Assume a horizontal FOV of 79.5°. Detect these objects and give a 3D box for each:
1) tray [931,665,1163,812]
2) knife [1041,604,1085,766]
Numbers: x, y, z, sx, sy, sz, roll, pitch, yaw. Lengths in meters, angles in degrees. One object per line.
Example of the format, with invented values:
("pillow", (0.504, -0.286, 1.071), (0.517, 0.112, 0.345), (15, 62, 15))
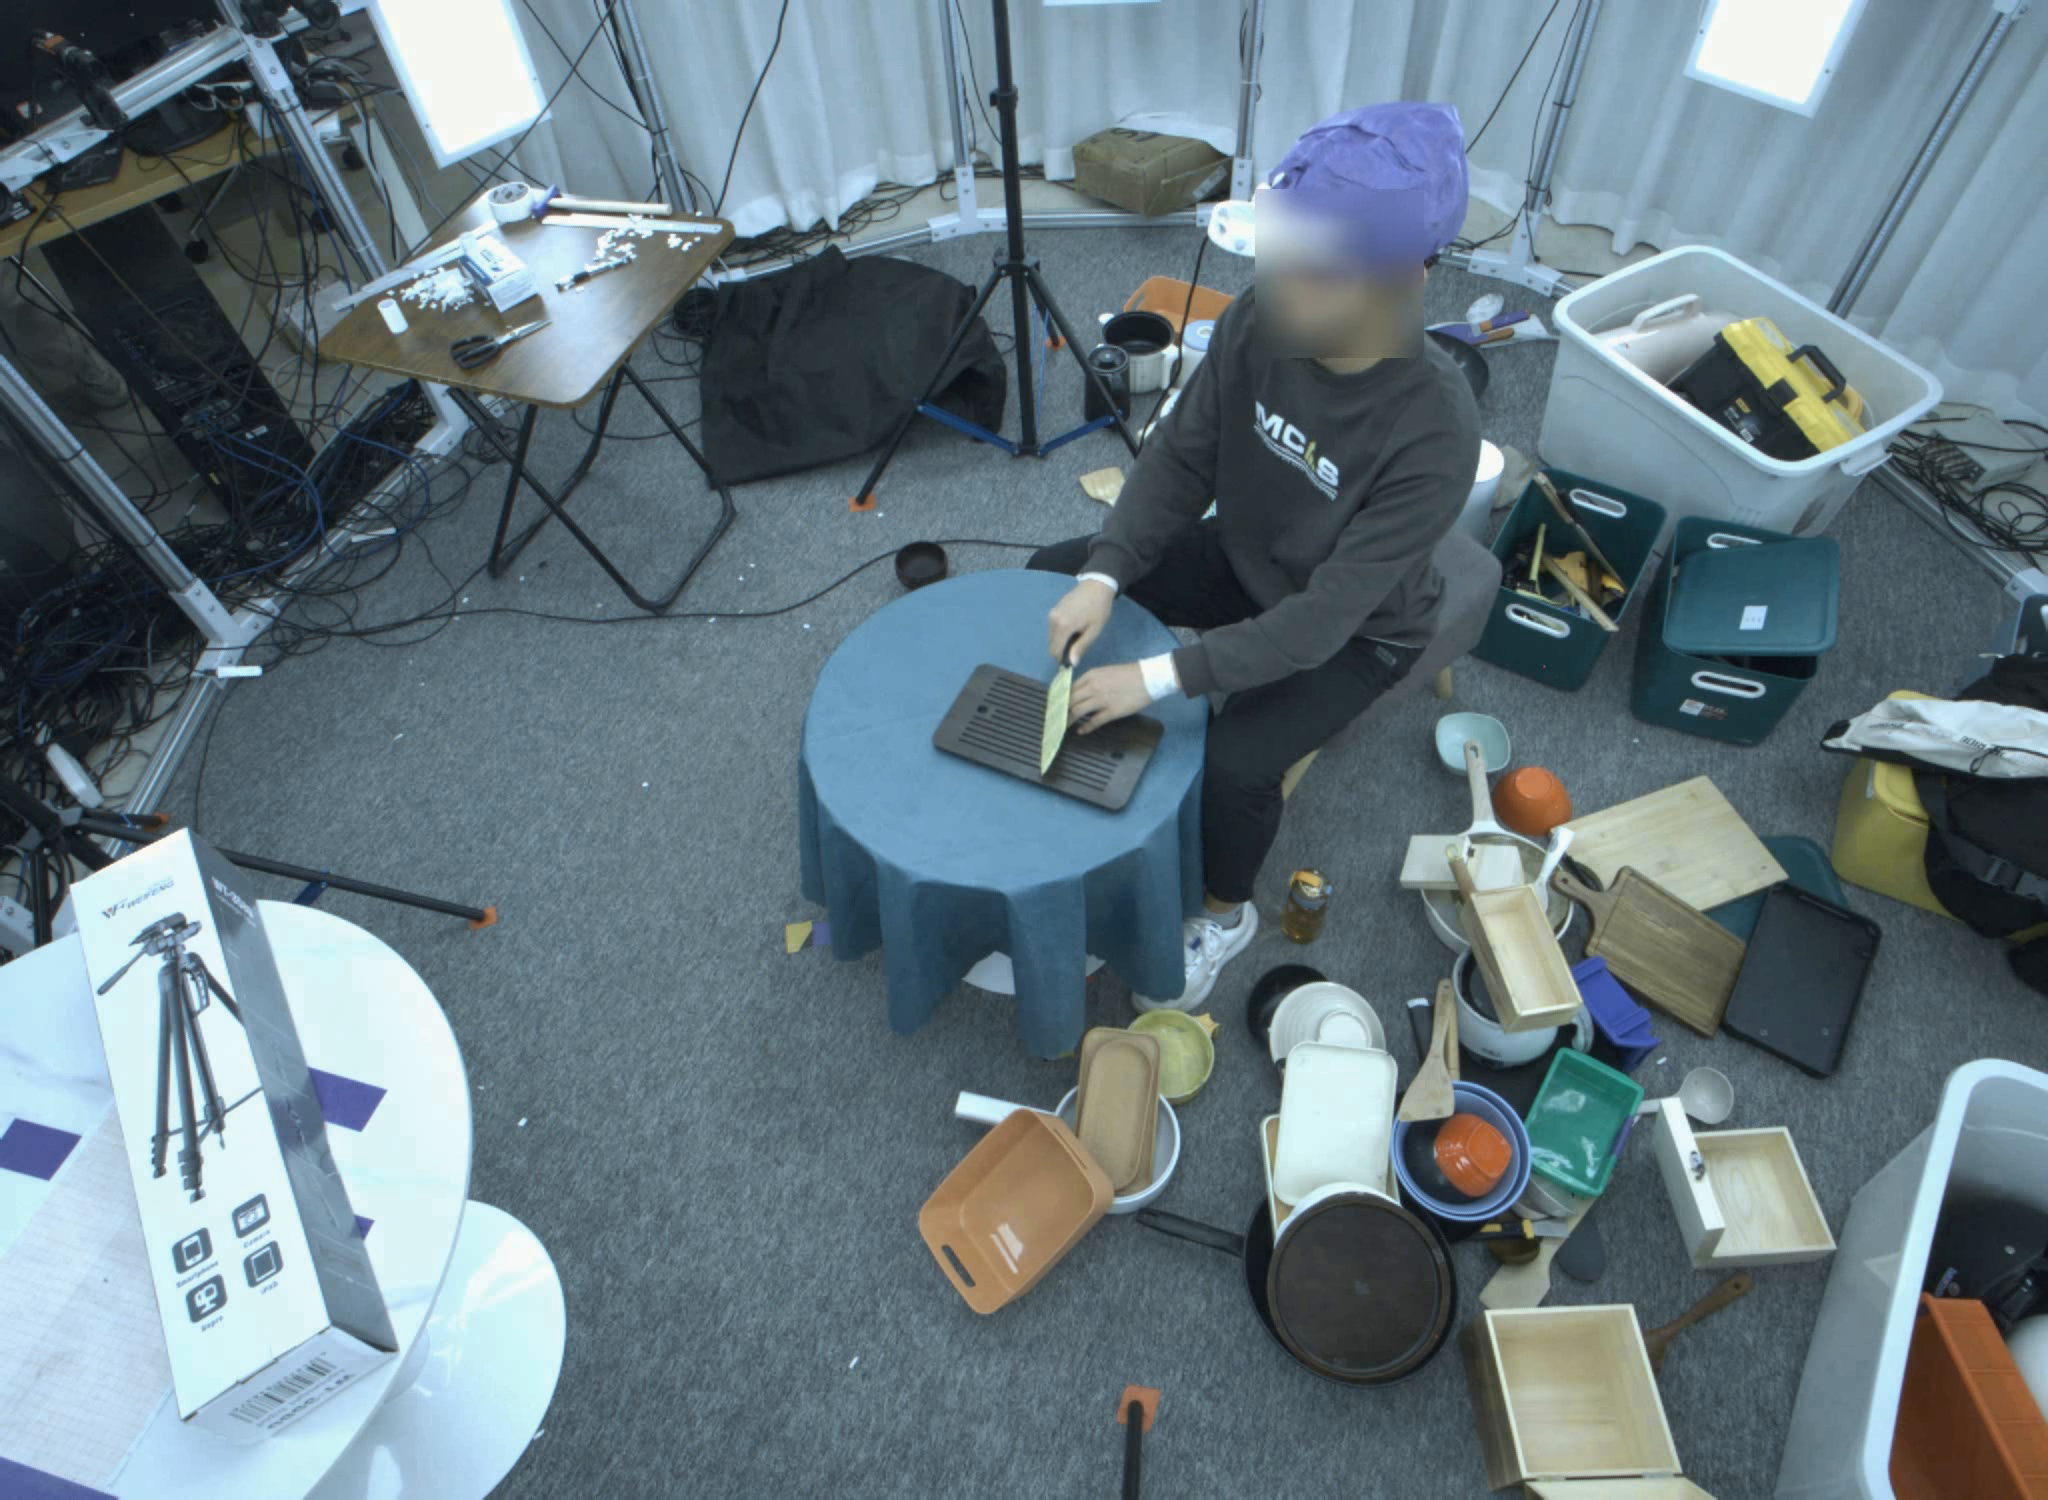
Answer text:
("tray", (0.033, -0.019, 1.796), (0.302, 0.019, 0.170), (20, 57, 15))
("knife", (0.055, -0.097, 1.802), (0.027, 0.080, 0.287), (24, 55, -19))
